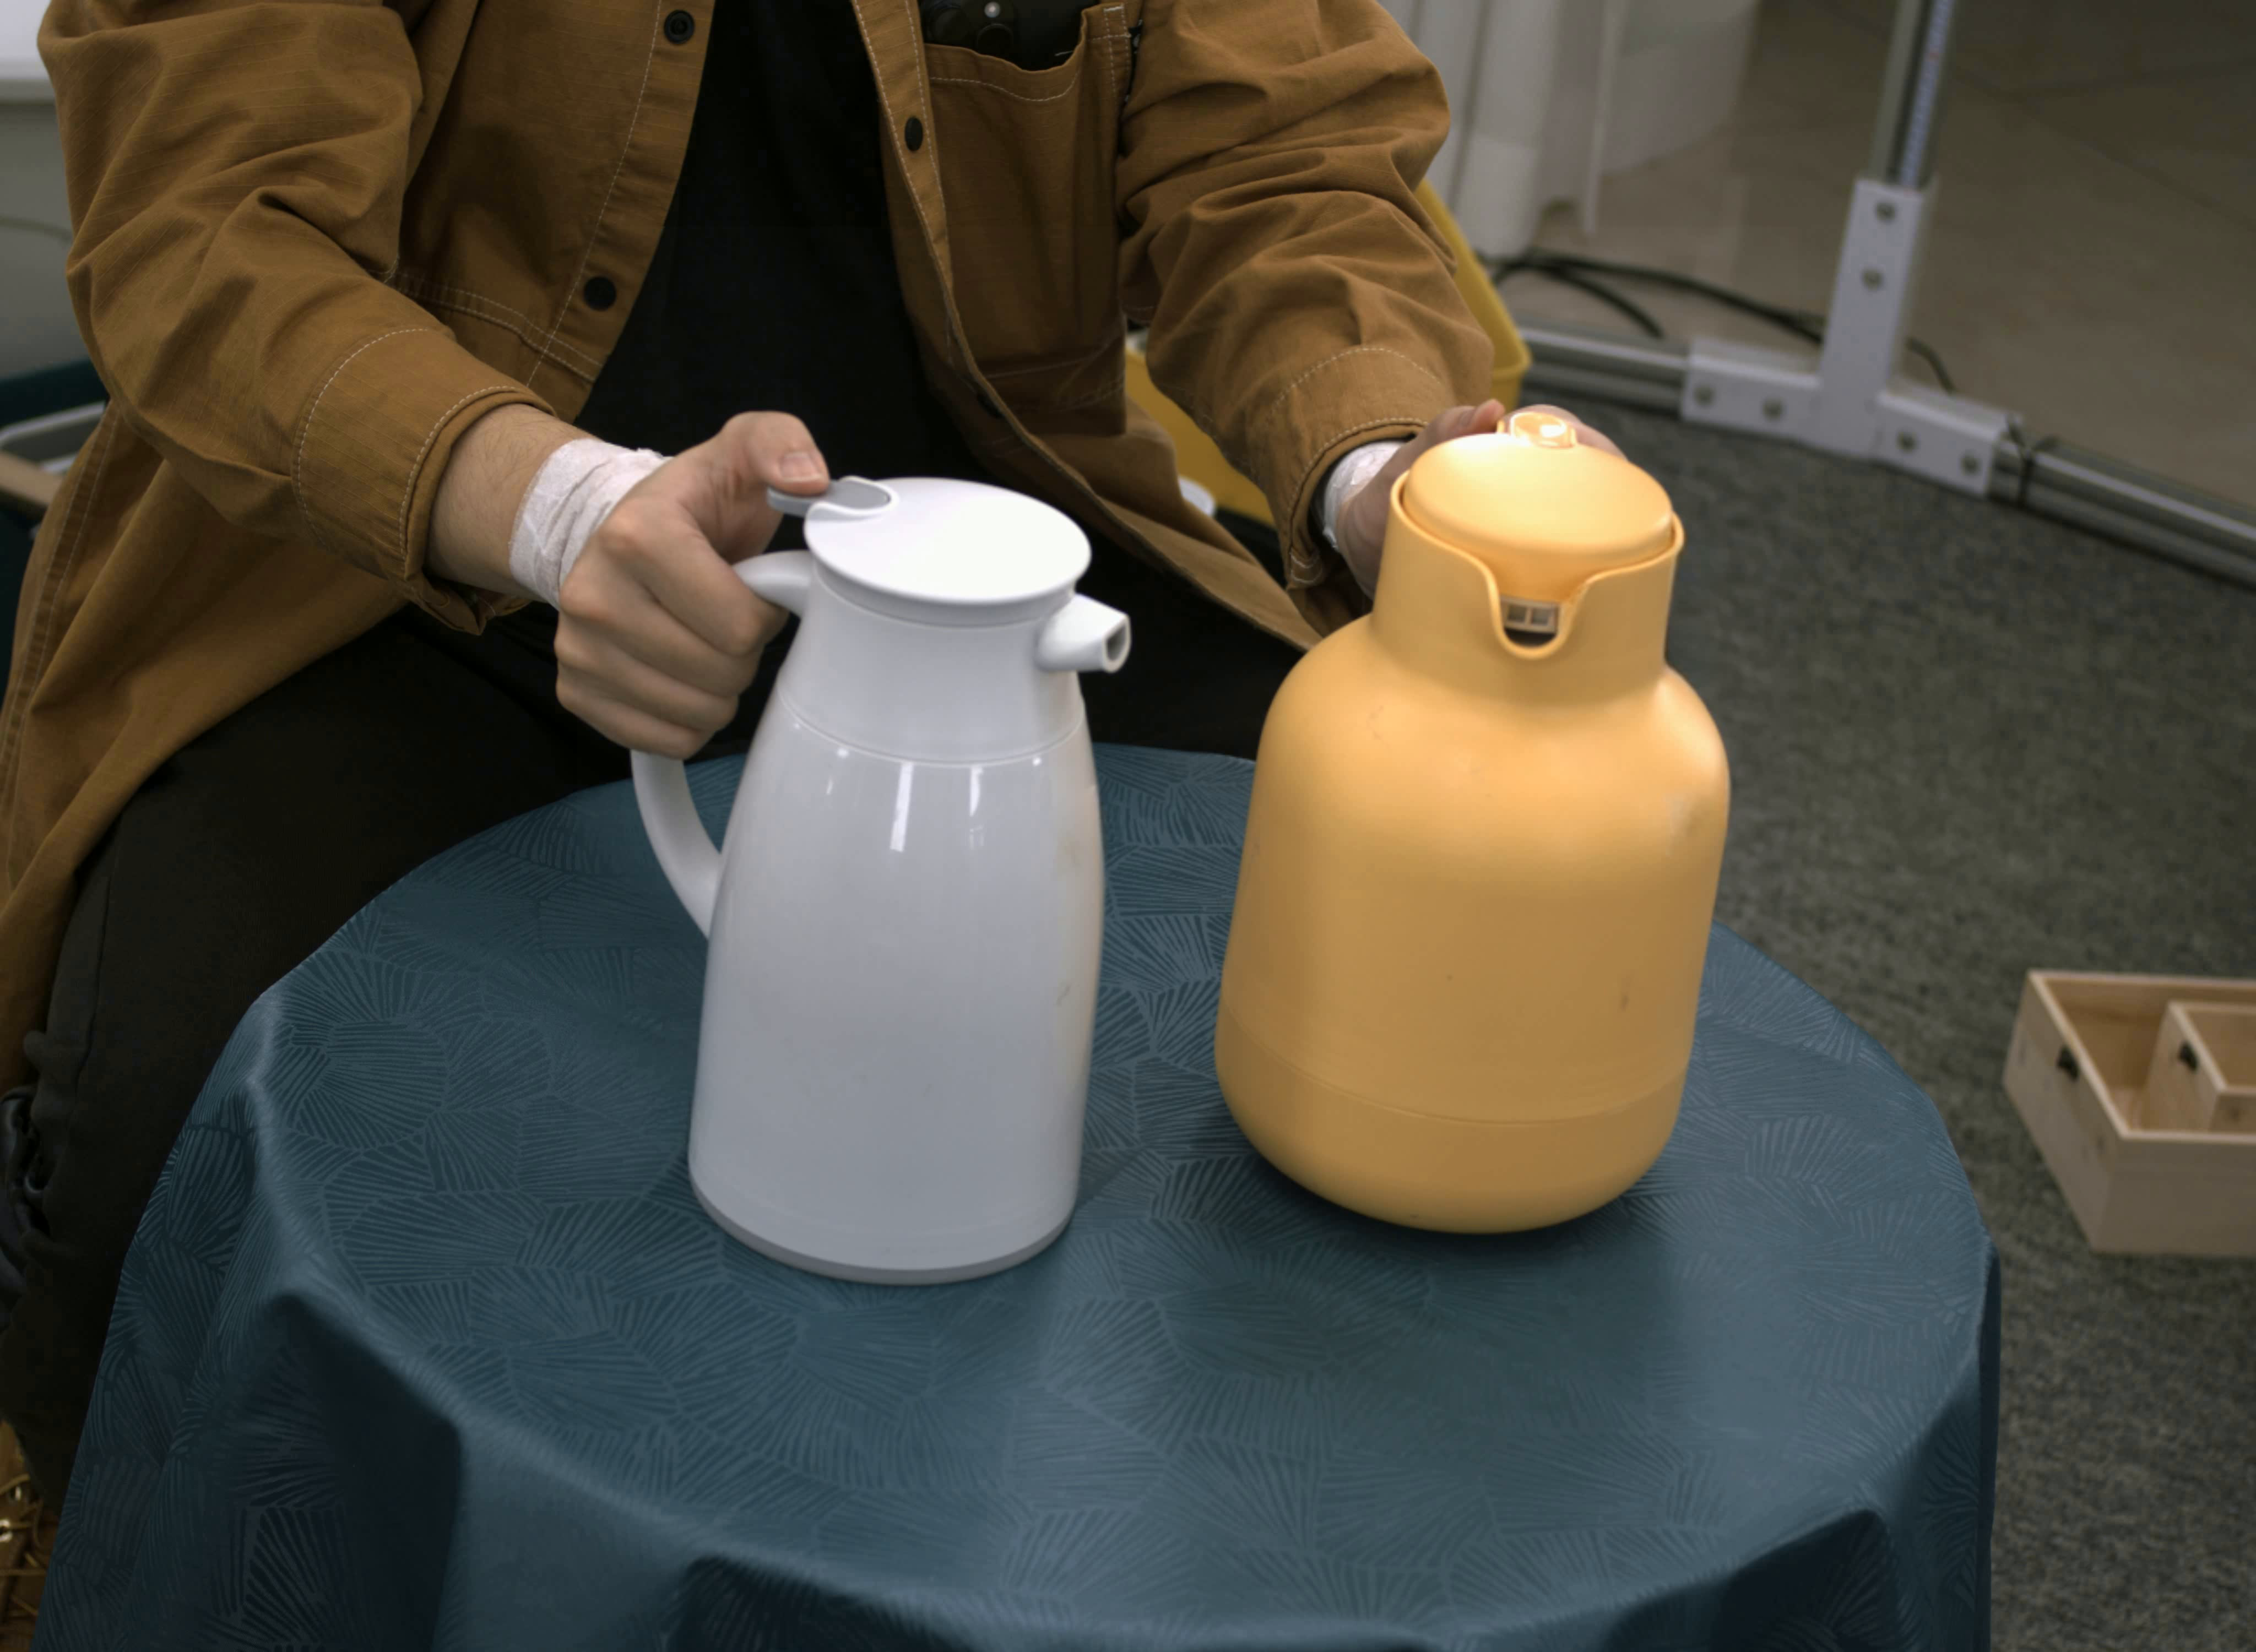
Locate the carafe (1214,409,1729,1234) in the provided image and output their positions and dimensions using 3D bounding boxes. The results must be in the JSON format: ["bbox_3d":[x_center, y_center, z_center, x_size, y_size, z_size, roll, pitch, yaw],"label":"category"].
[{"bbox_3d":[0.124,-0.011,1.812,0.163,0.259,0.203,10,28,3],"label":"carafe"}]

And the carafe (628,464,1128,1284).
[{"bbox_3d":[-0.088,0.005,1.744,0.168,0.248,0.132,16,28,19],"label":"carafe"}]
